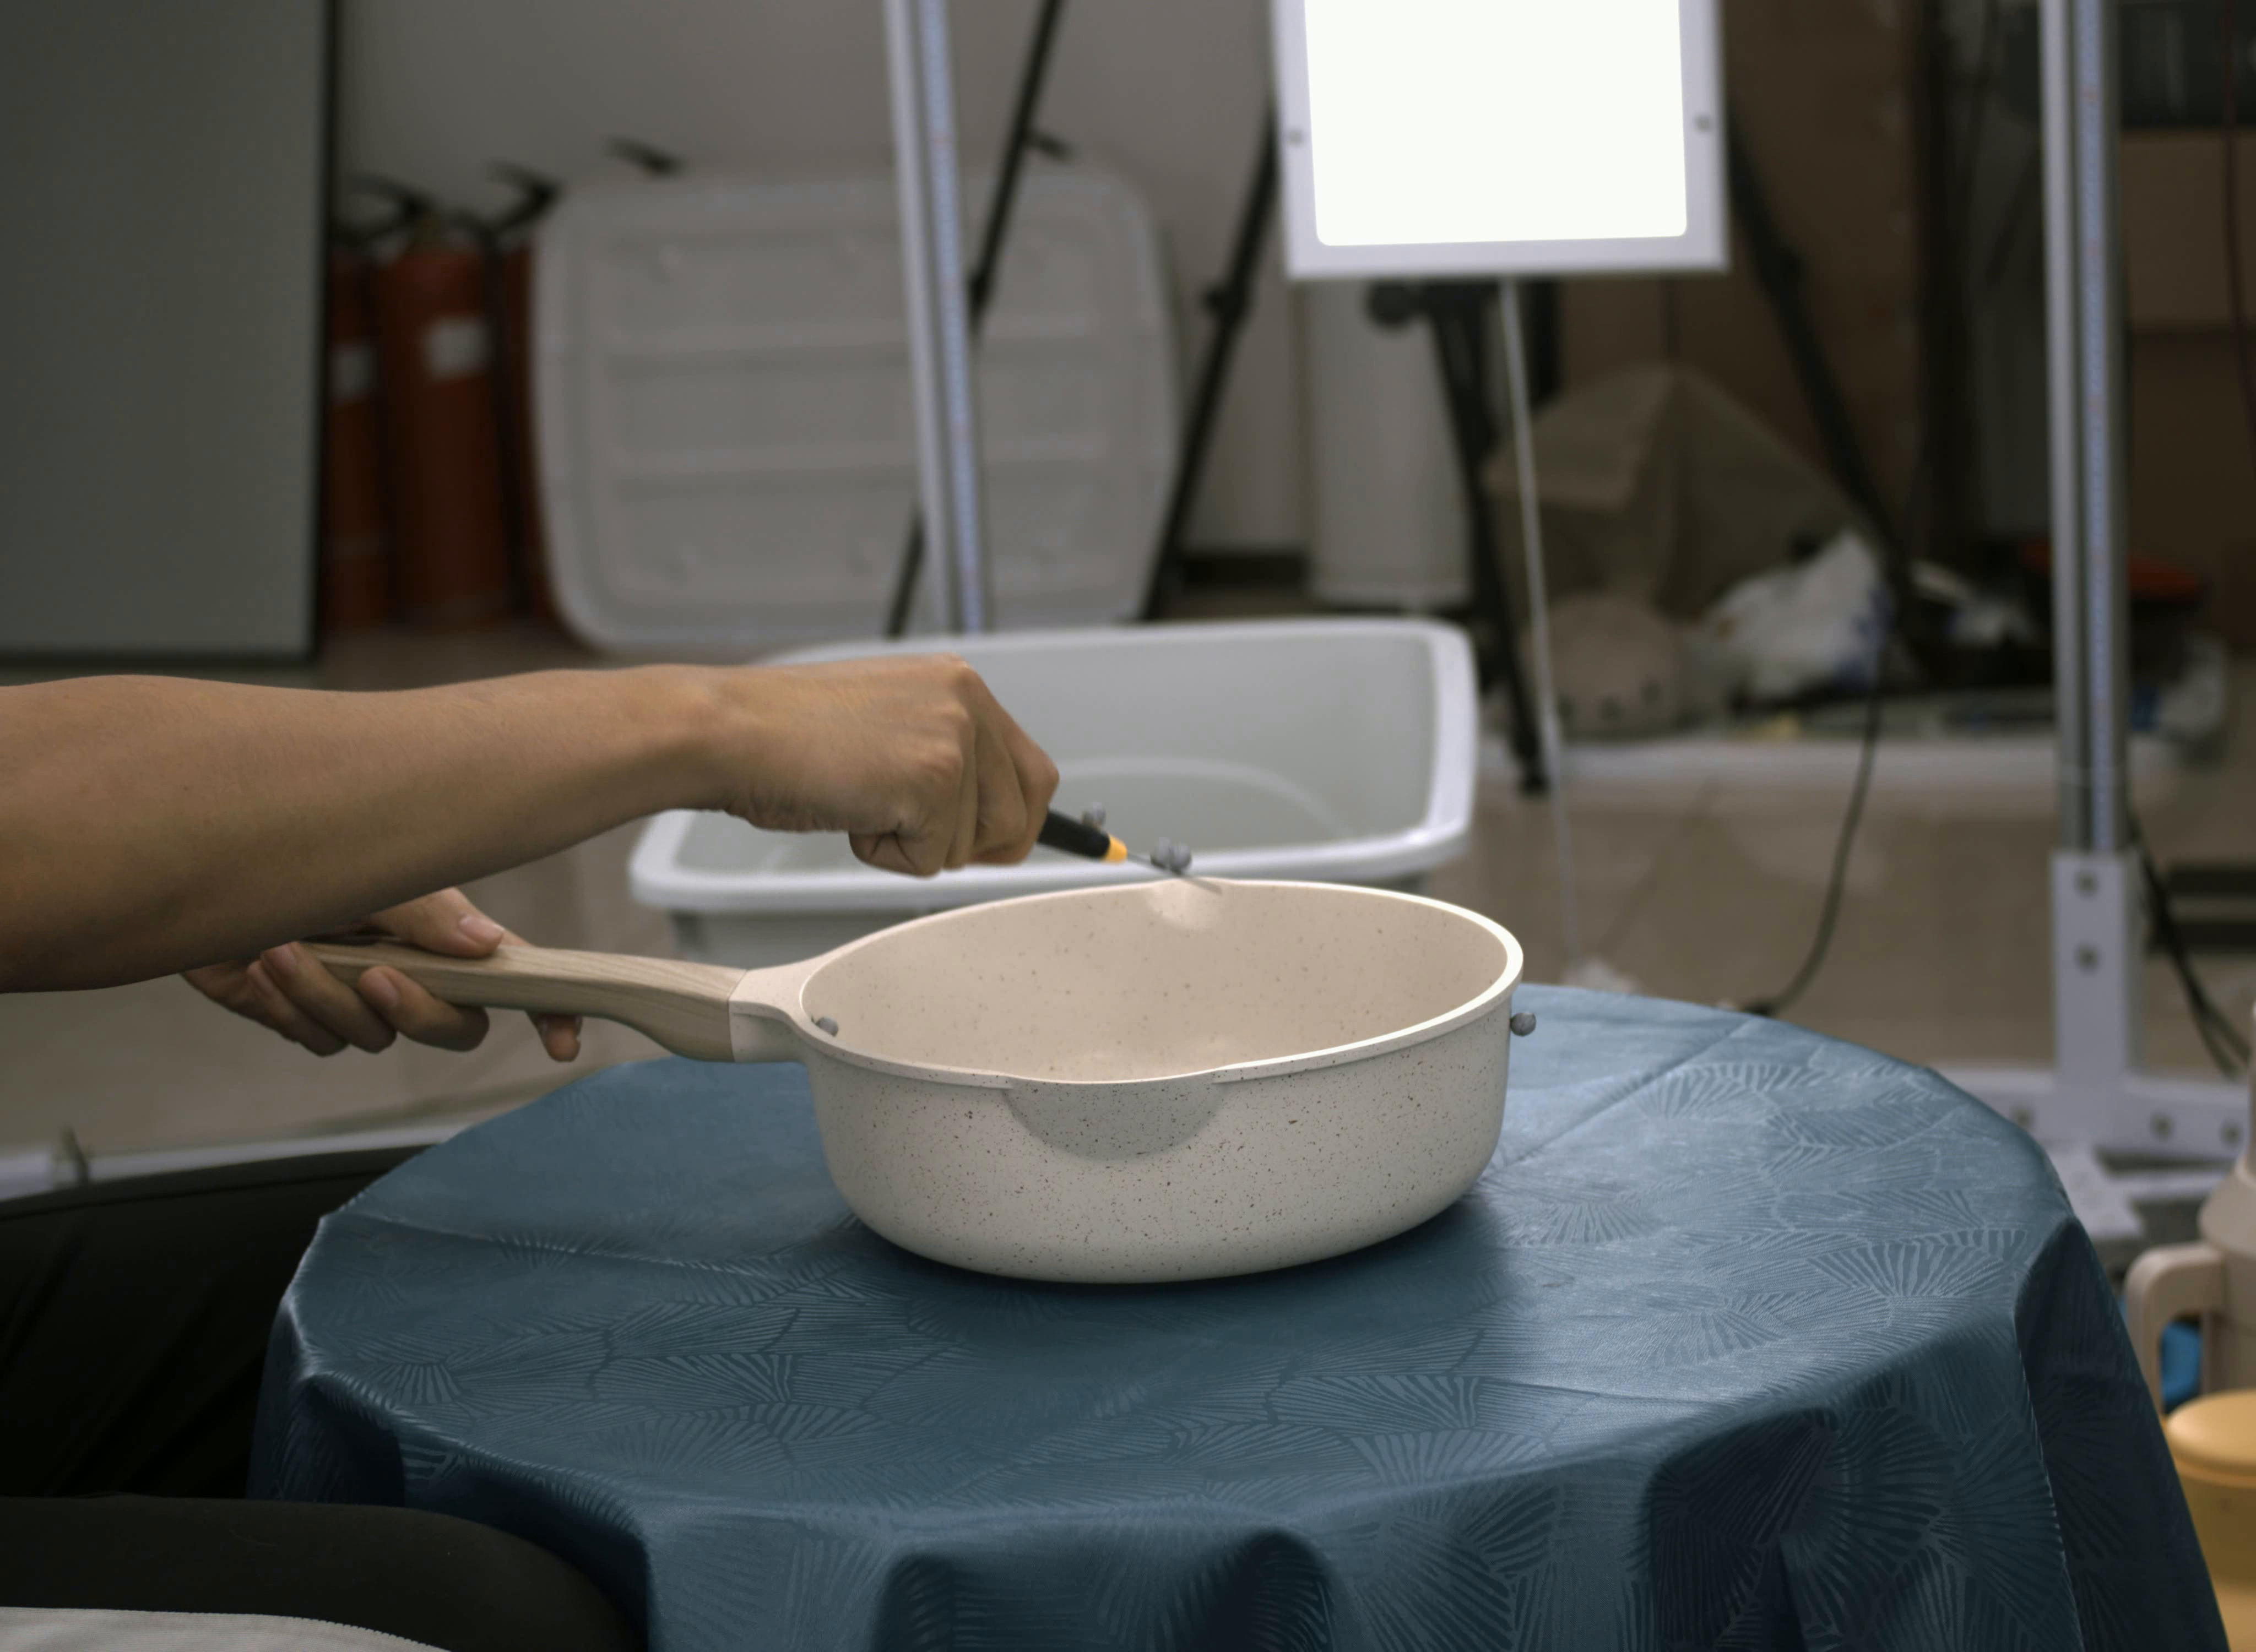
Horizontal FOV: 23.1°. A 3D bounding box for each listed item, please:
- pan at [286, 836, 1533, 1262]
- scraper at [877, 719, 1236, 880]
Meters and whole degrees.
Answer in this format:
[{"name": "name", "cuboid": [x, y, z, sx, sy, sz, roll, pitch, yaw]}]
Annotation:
[{"name": "pan", "cuboid": [-0.074, 0.076, 1.910, 0.437, 0.102, 0.261, -3, 16, 9]}, {"name": "scraper", "cuboid": [-0.024, -0.008, 1.850, 0.039, 0.015, 0.167, 32, 7, 41]}]
